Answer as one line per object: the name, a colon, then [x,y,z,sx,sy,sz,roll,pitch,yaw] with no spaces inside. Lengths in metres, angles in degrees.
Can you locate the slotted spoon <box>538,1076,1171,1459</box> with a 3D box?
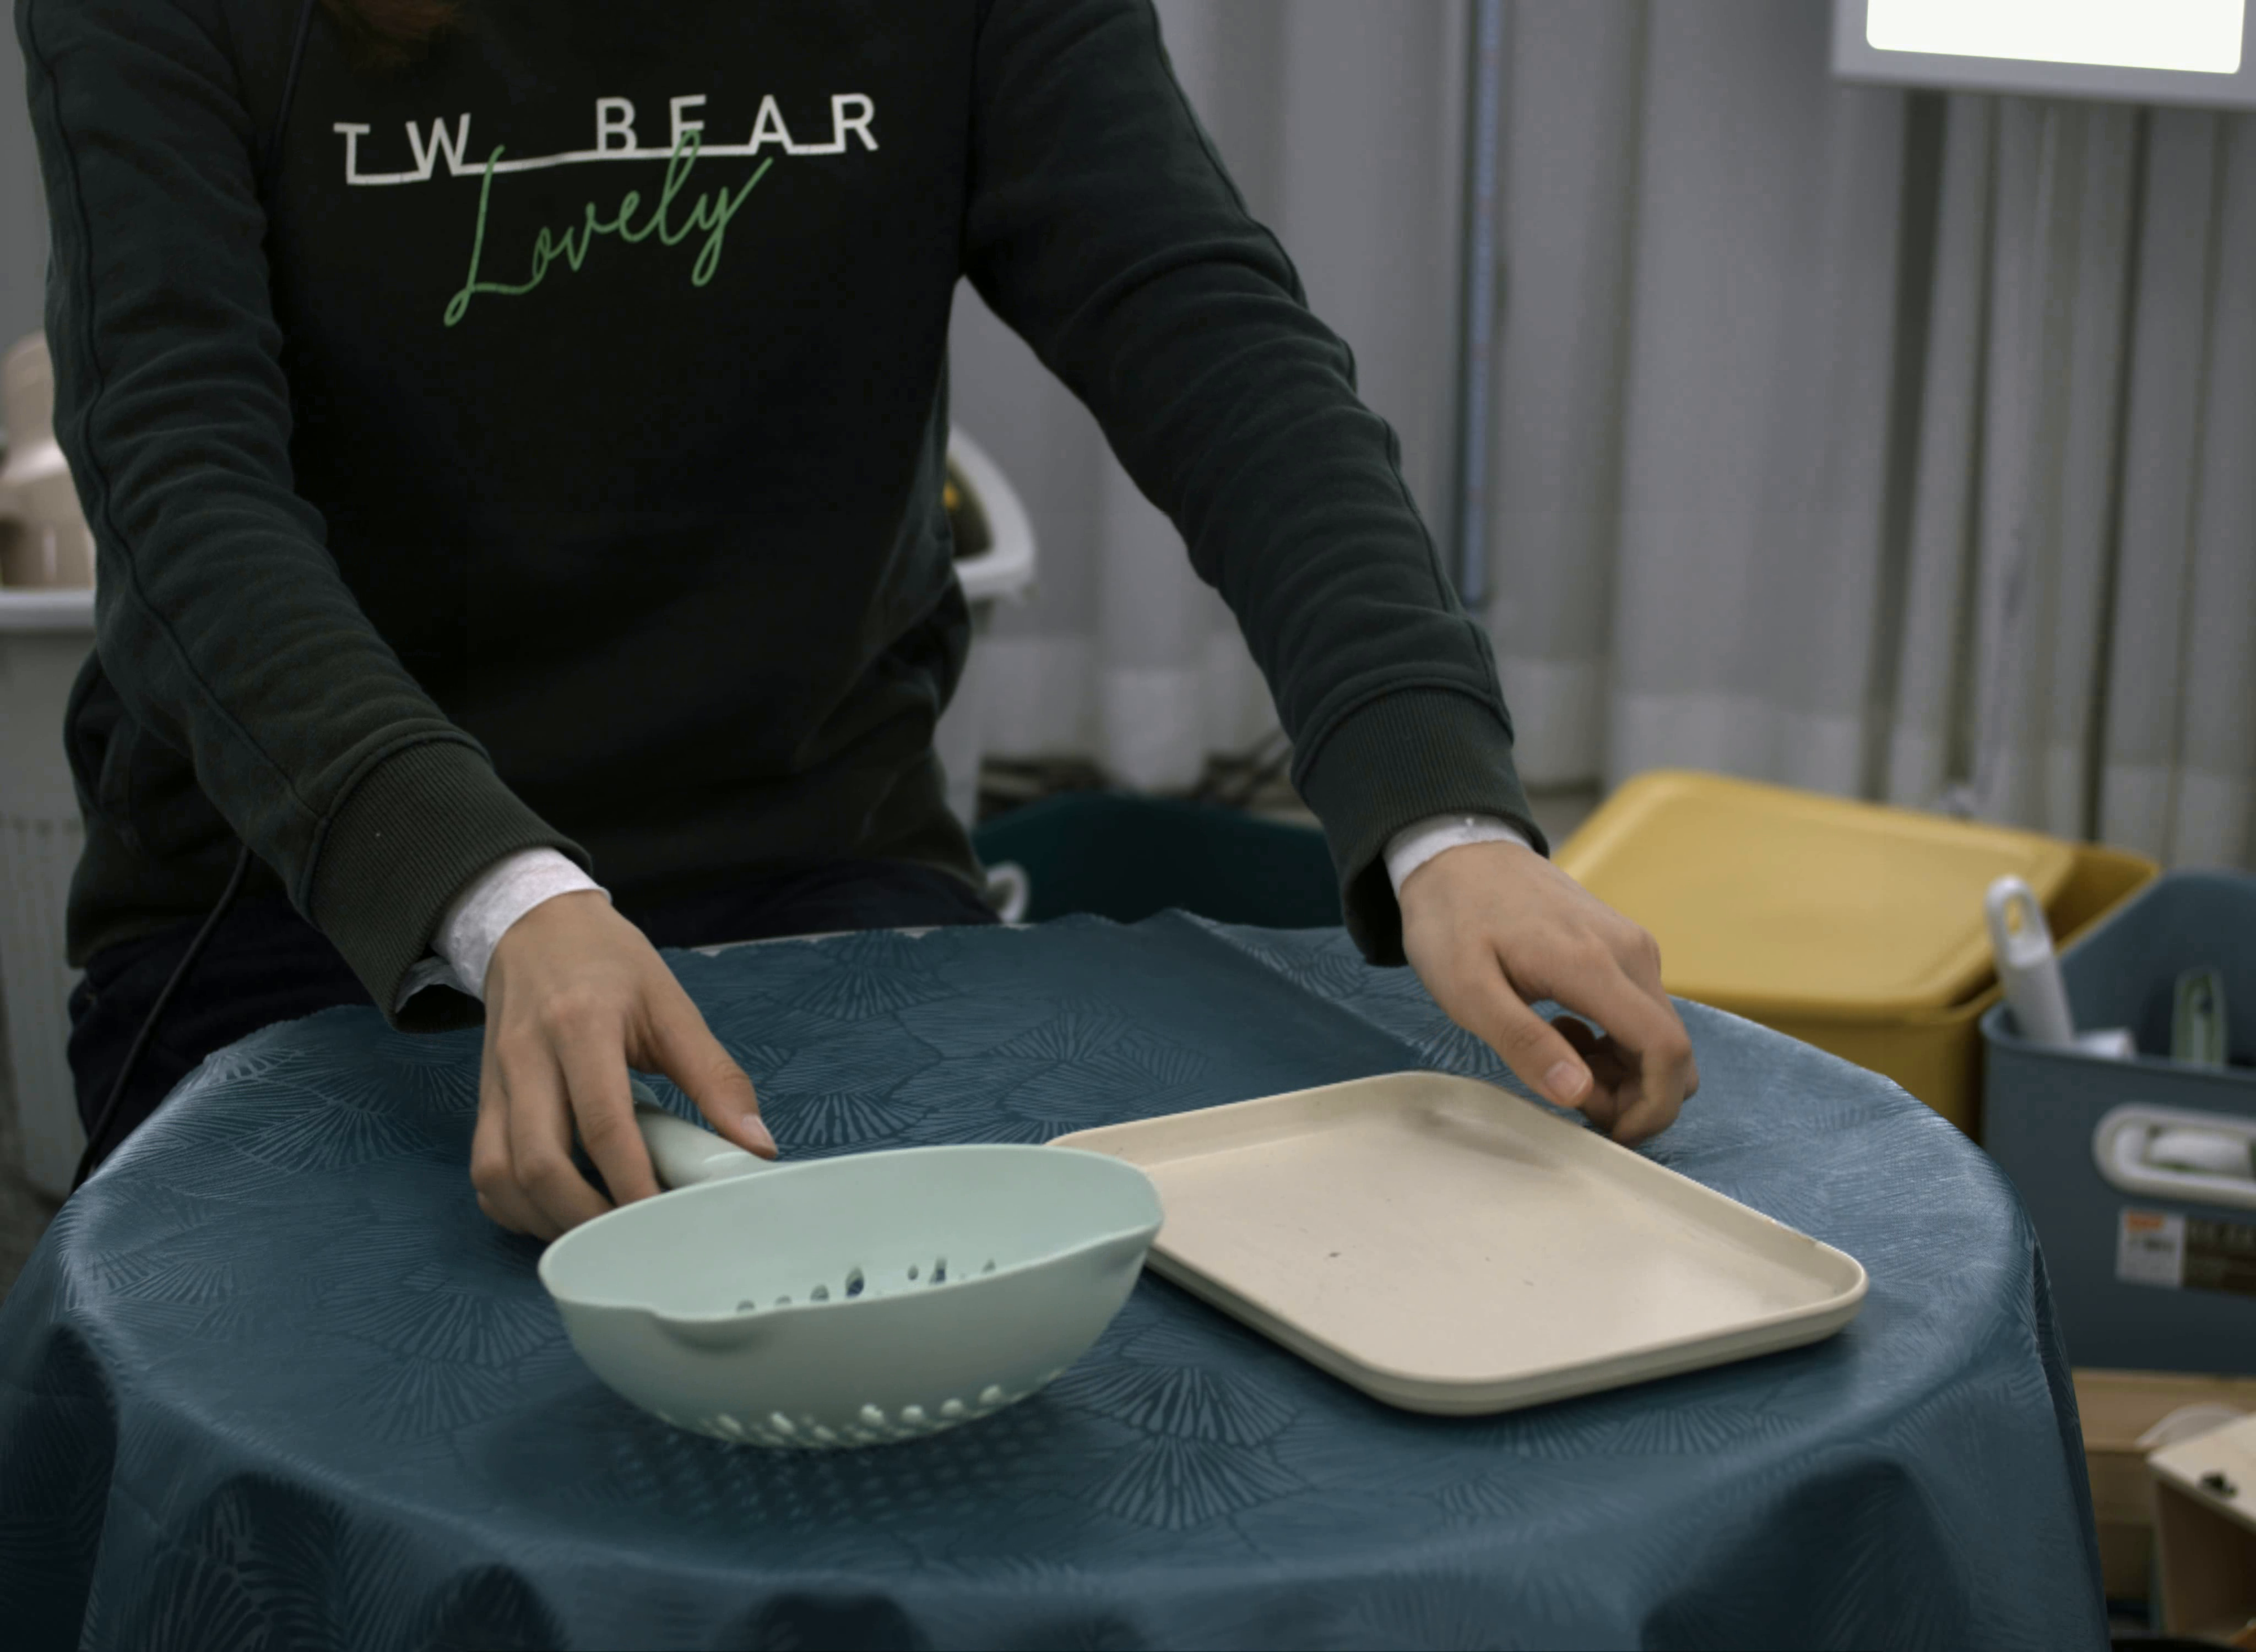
slotted spoon: [-0.110,0.109,1.514,0.170,0.076,0.354,-10,18,-21]

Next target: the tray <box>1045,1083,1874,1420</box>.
tray: [0.092,0.124,1.561,0.172,0.017,0.236,-9,17,-30]
